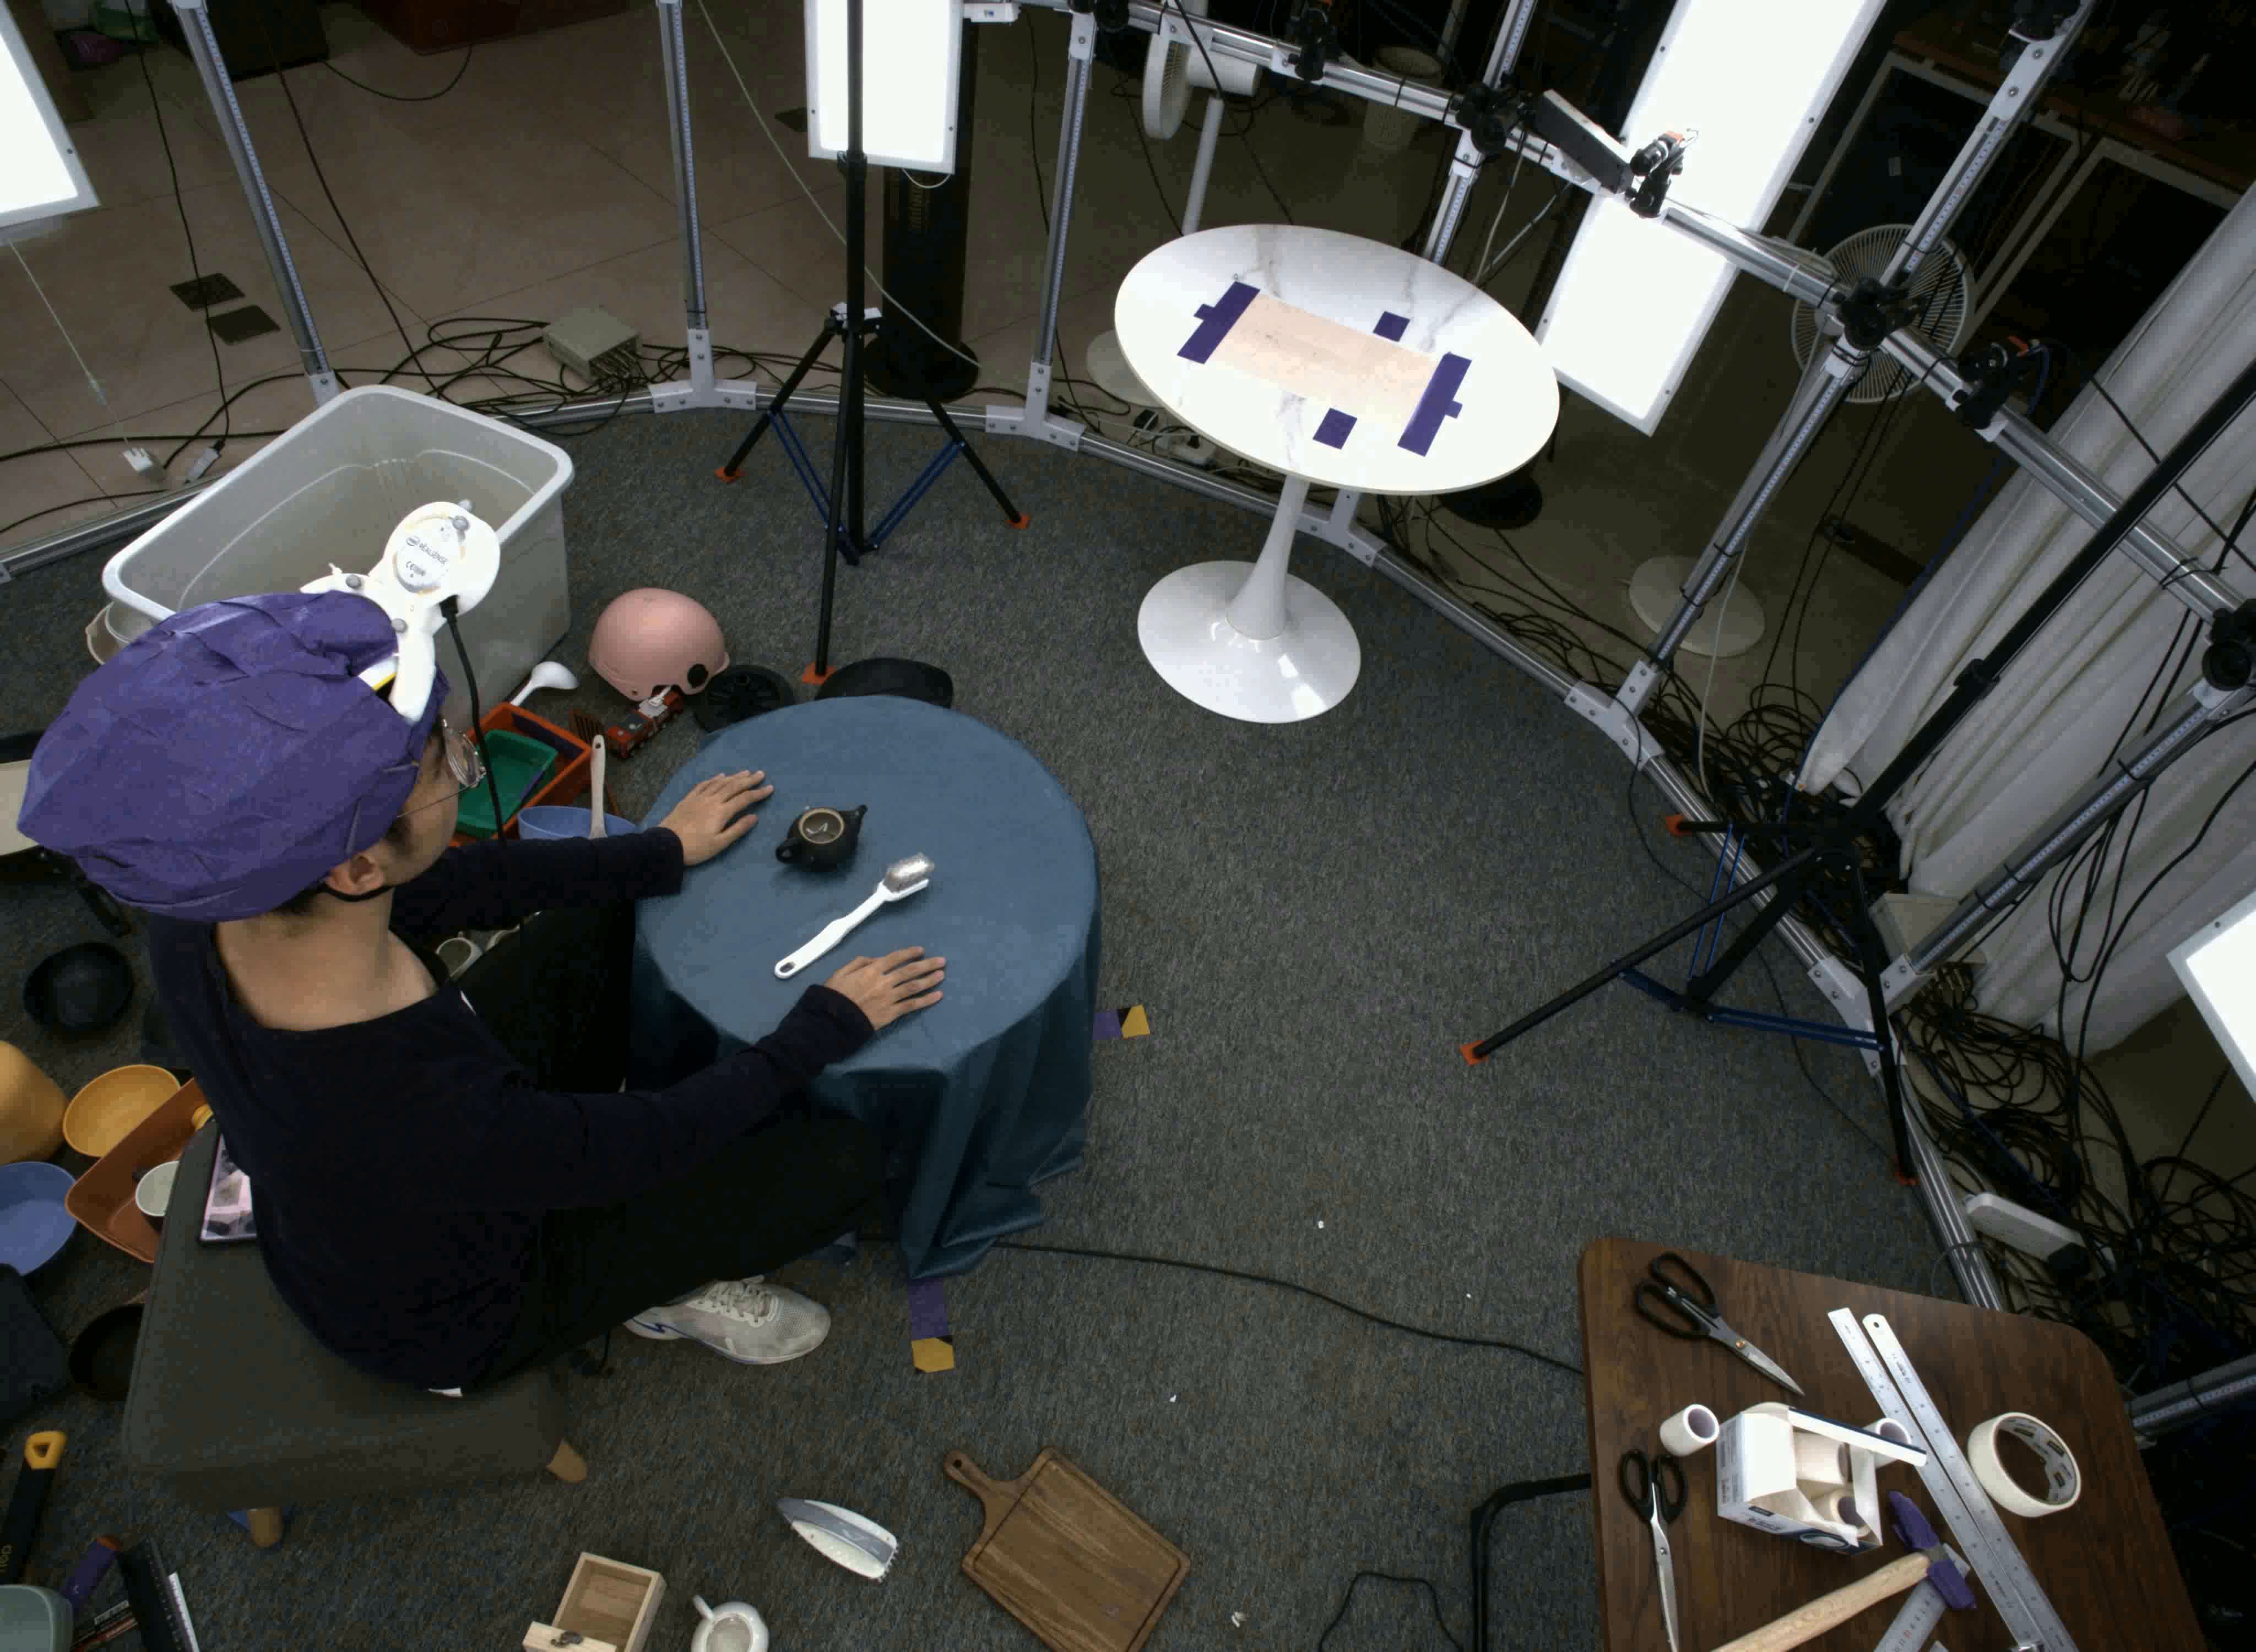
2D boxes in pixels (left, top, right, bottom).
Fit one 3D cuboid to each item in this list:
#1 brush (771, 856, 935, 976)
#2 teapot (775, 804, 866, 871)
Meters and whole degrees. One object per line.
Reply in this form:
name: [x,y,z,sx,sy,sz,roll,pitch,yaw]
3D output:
brush: [-0.345,0.108,1.635,0.244,0.051,0.034,-33,69,-32]
teapot: [-0.398,0.015,1.687,0.133,0.054,0.088,-29,61,-29]
